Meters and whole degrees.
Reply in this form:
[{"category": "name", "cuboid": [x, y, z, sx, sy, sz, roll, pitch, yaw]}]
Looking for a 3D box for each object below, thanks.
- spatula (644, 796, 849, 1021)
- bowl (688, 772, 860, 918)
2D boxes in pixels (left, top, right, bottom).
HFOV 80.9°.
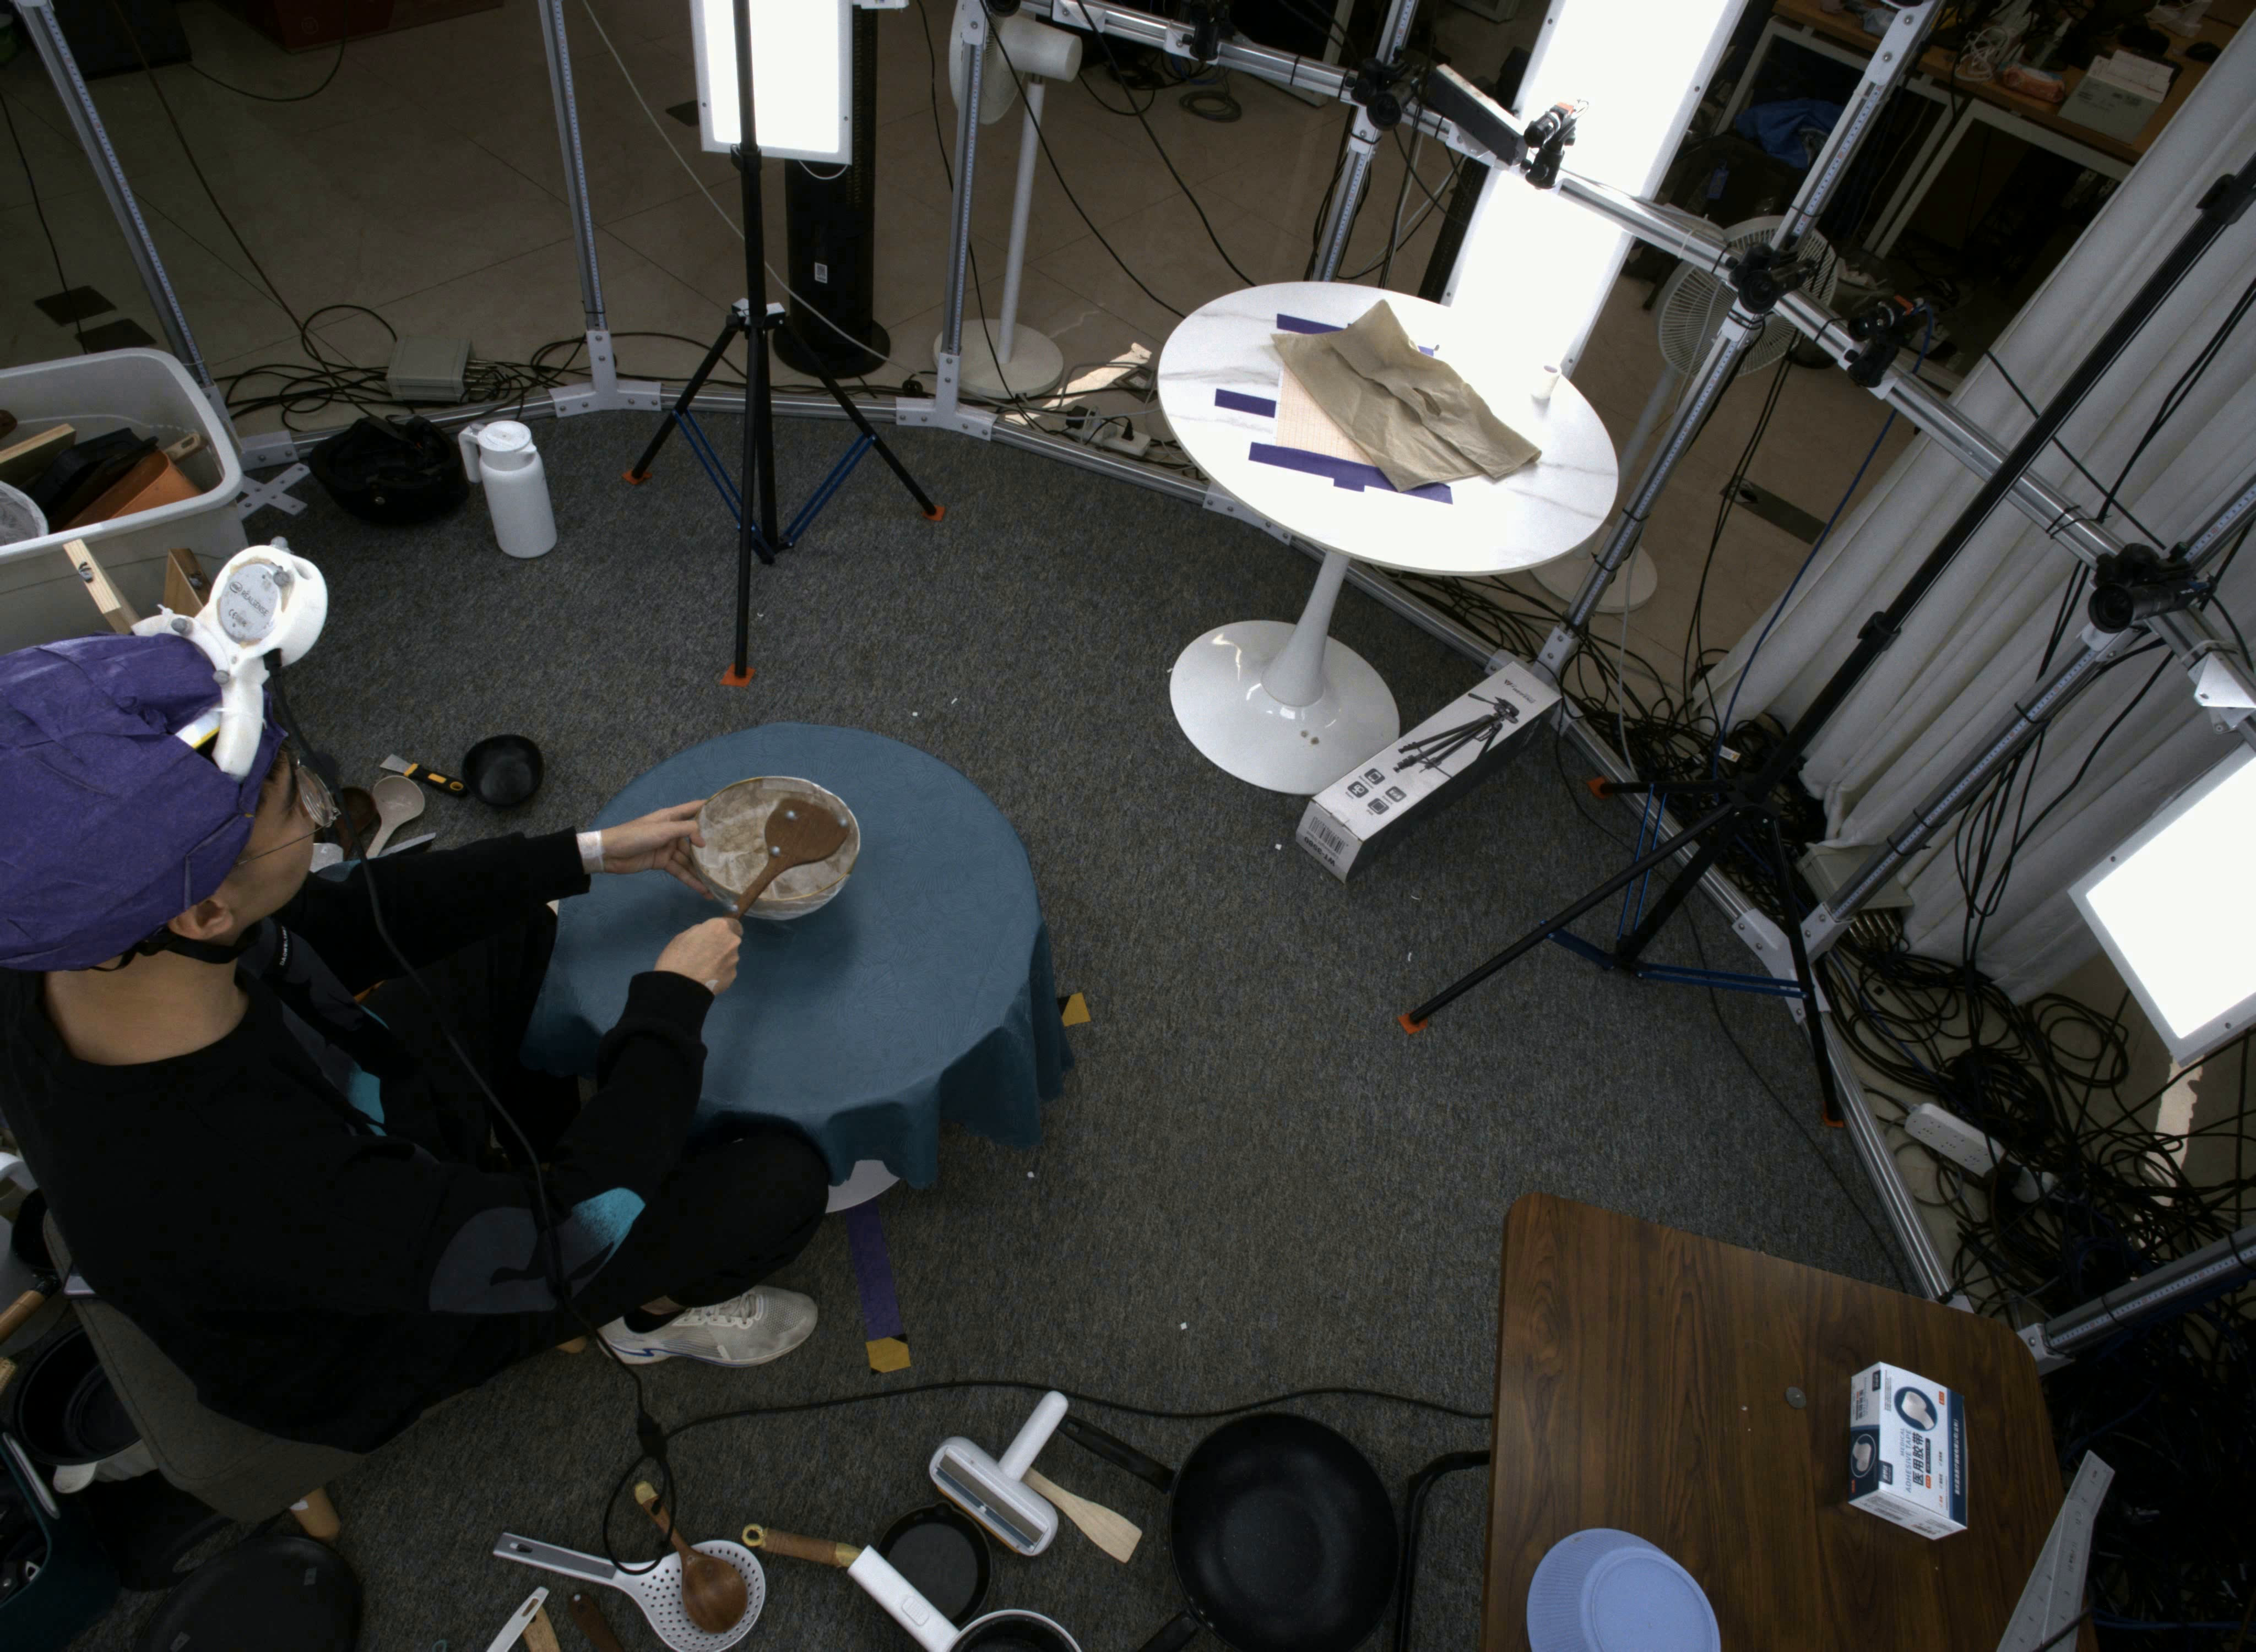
[{"category": "spatula", "cuboid": [-0.431, 0.083, 1.445, 0.095, 0.016, 0.382, 25, 39, 1]}, {"category": "bowl", "cuboid": [-0.436, 0.038, 1.589, 0.215, 0.096, 0.210, 10, 48, -10]}]
